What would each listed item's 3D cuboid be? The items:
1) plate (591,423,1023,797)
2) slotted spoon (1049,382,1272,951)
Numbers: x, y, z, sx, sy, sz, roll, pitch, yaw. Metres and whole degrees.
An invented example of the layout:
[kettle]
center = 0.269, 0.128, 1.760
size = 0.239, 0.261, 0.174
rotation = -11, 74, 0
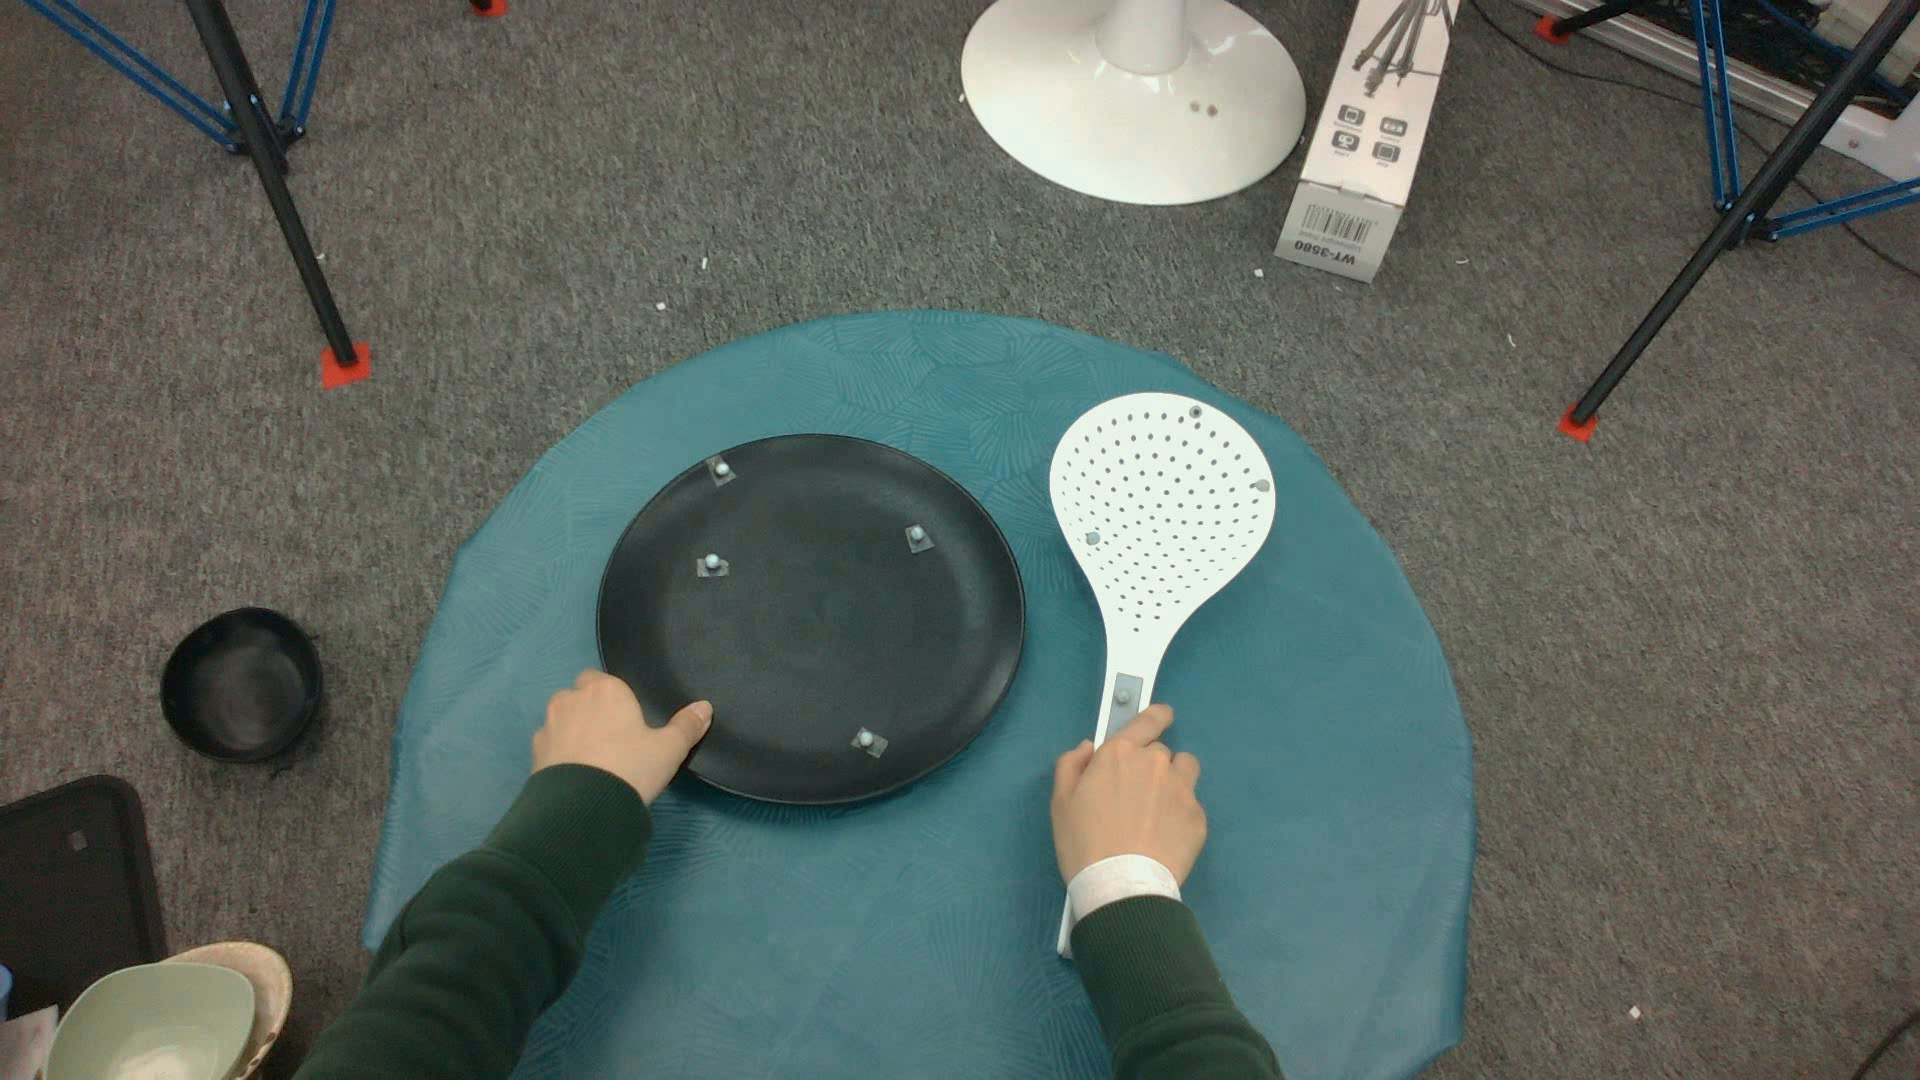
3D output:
[plate]
center = -0.086, 0.035, 0.791
size = 0.244, 0.023, 0.245
rotation = 3, 57, -5
[slotted spoon]
center = 0.097, 0.058, 0.784
size = 0.136, 0.045, 0.351
rotation = 12, 57, 4
